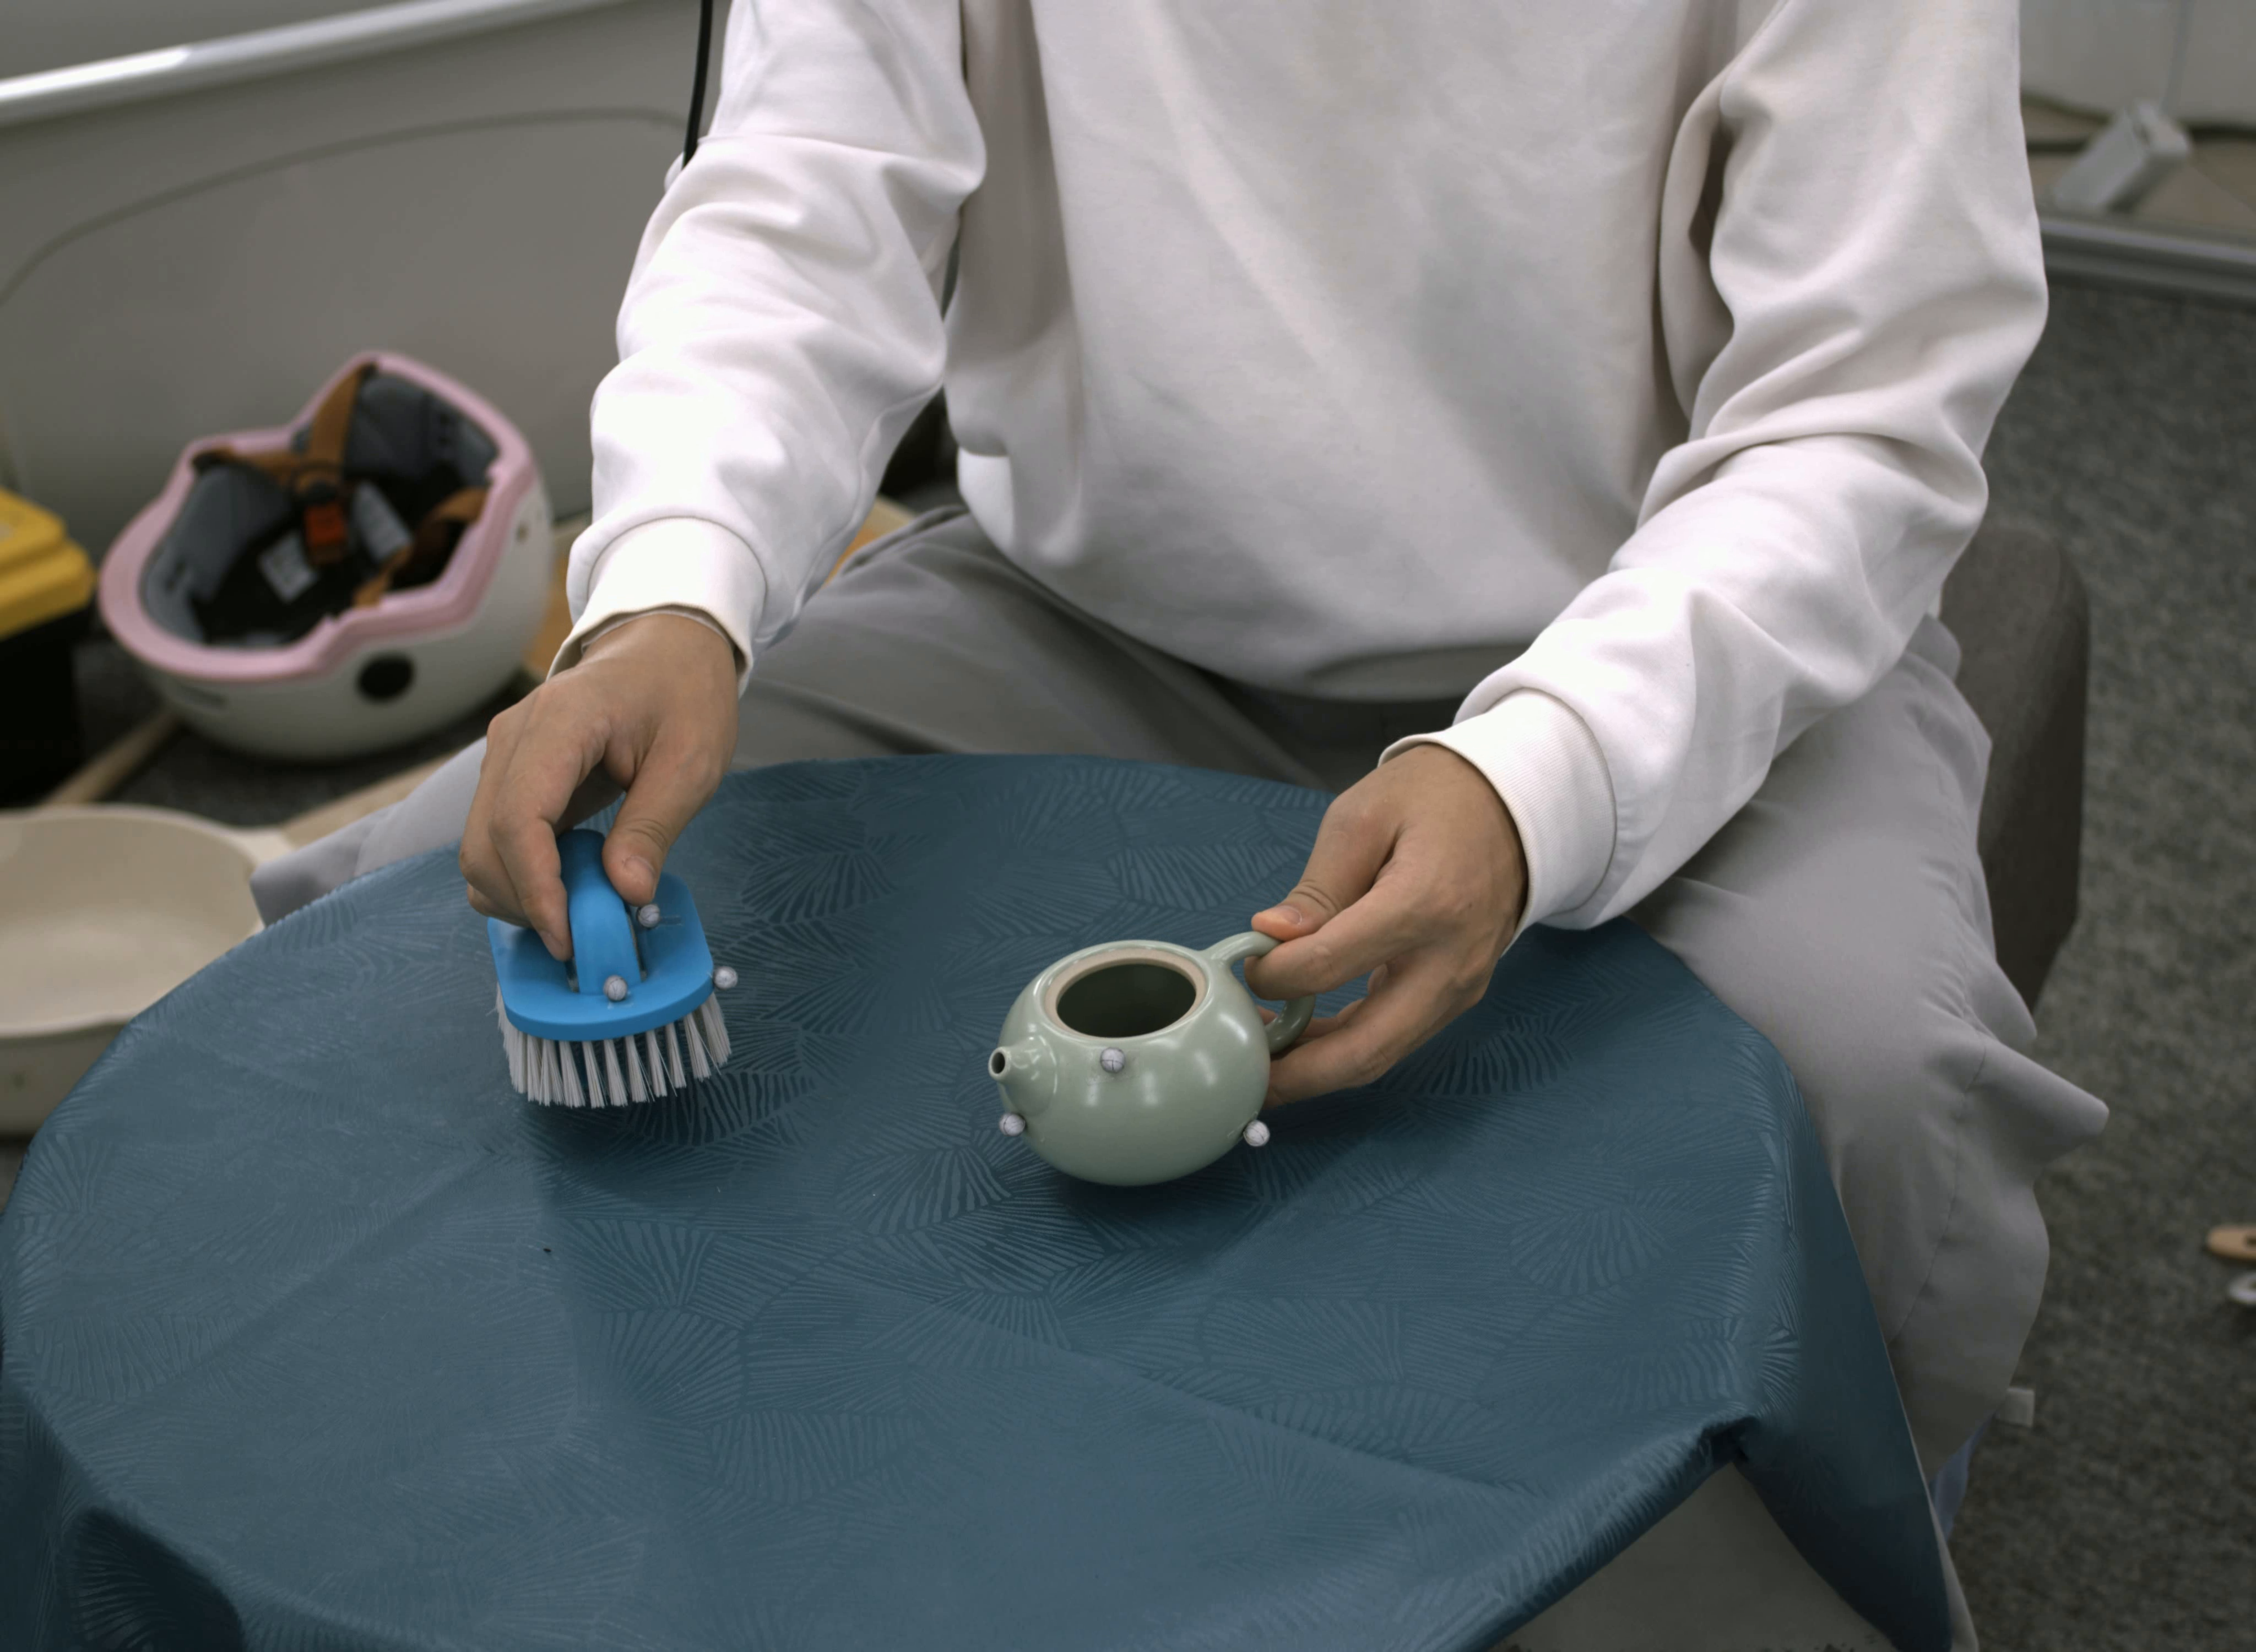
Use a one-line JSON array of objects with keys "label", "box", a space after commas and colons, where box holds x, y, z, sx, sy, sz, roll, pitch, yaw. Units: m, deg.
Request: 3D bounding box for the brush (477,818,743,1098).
[{"label": "brush", "box": [-0.183, 0.038, 1.933, 0.084, 0.063, 0.143, -13, 22, -6]}]

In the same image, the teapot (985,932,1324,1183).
[{"label": "teapot", "box": [0.011, 0.075, 1.865, 0.129, 0.060, 0.092, -22, 31, -24]}]
